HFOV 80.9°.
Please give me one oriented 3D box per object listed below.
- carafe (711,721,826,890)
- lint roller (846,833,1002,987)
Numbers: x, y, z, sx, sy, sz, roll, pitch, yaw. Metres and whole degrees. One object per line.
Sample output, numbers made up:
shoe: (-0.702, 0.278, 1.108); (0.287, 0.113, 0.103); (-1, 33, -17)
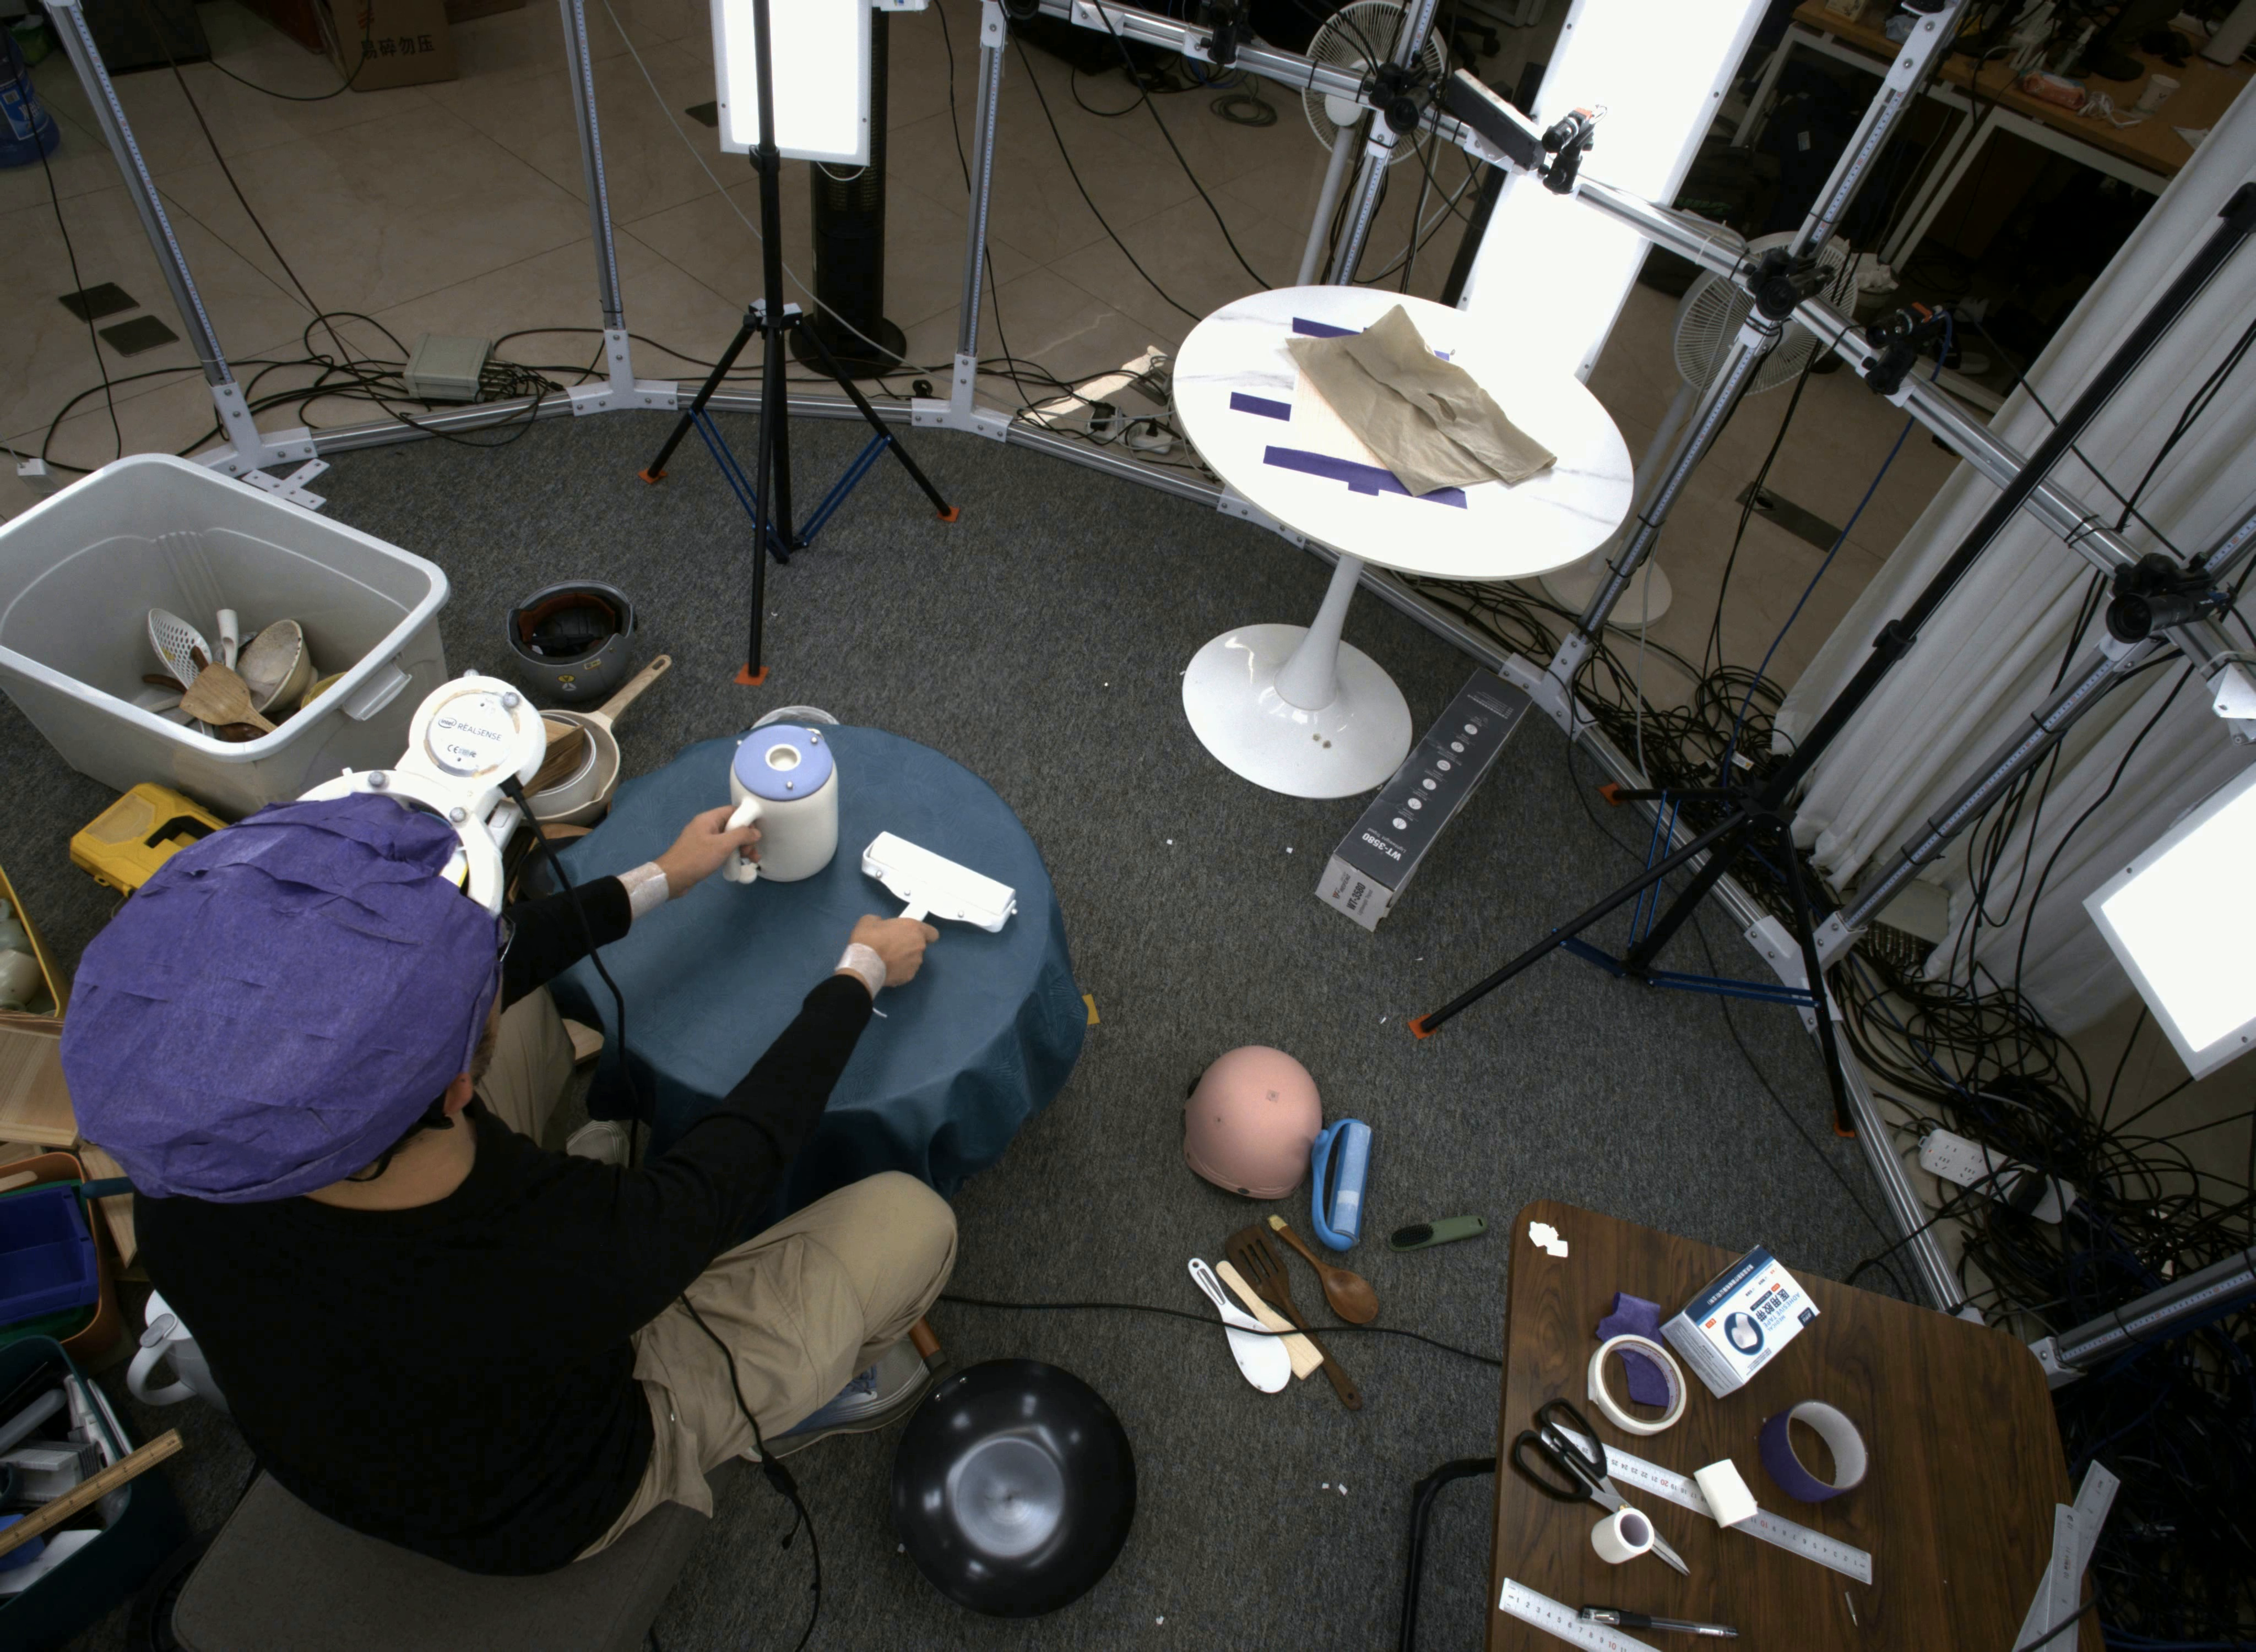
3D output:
carafe: (-0.459, -0.013, 1.608); (0.130, 0.186, 0.190); (25, 53, 8)
lint roller: (-0.286, 0.113, 1.618); (0.201, 0.049, 0.223); (24, 40, 3)
